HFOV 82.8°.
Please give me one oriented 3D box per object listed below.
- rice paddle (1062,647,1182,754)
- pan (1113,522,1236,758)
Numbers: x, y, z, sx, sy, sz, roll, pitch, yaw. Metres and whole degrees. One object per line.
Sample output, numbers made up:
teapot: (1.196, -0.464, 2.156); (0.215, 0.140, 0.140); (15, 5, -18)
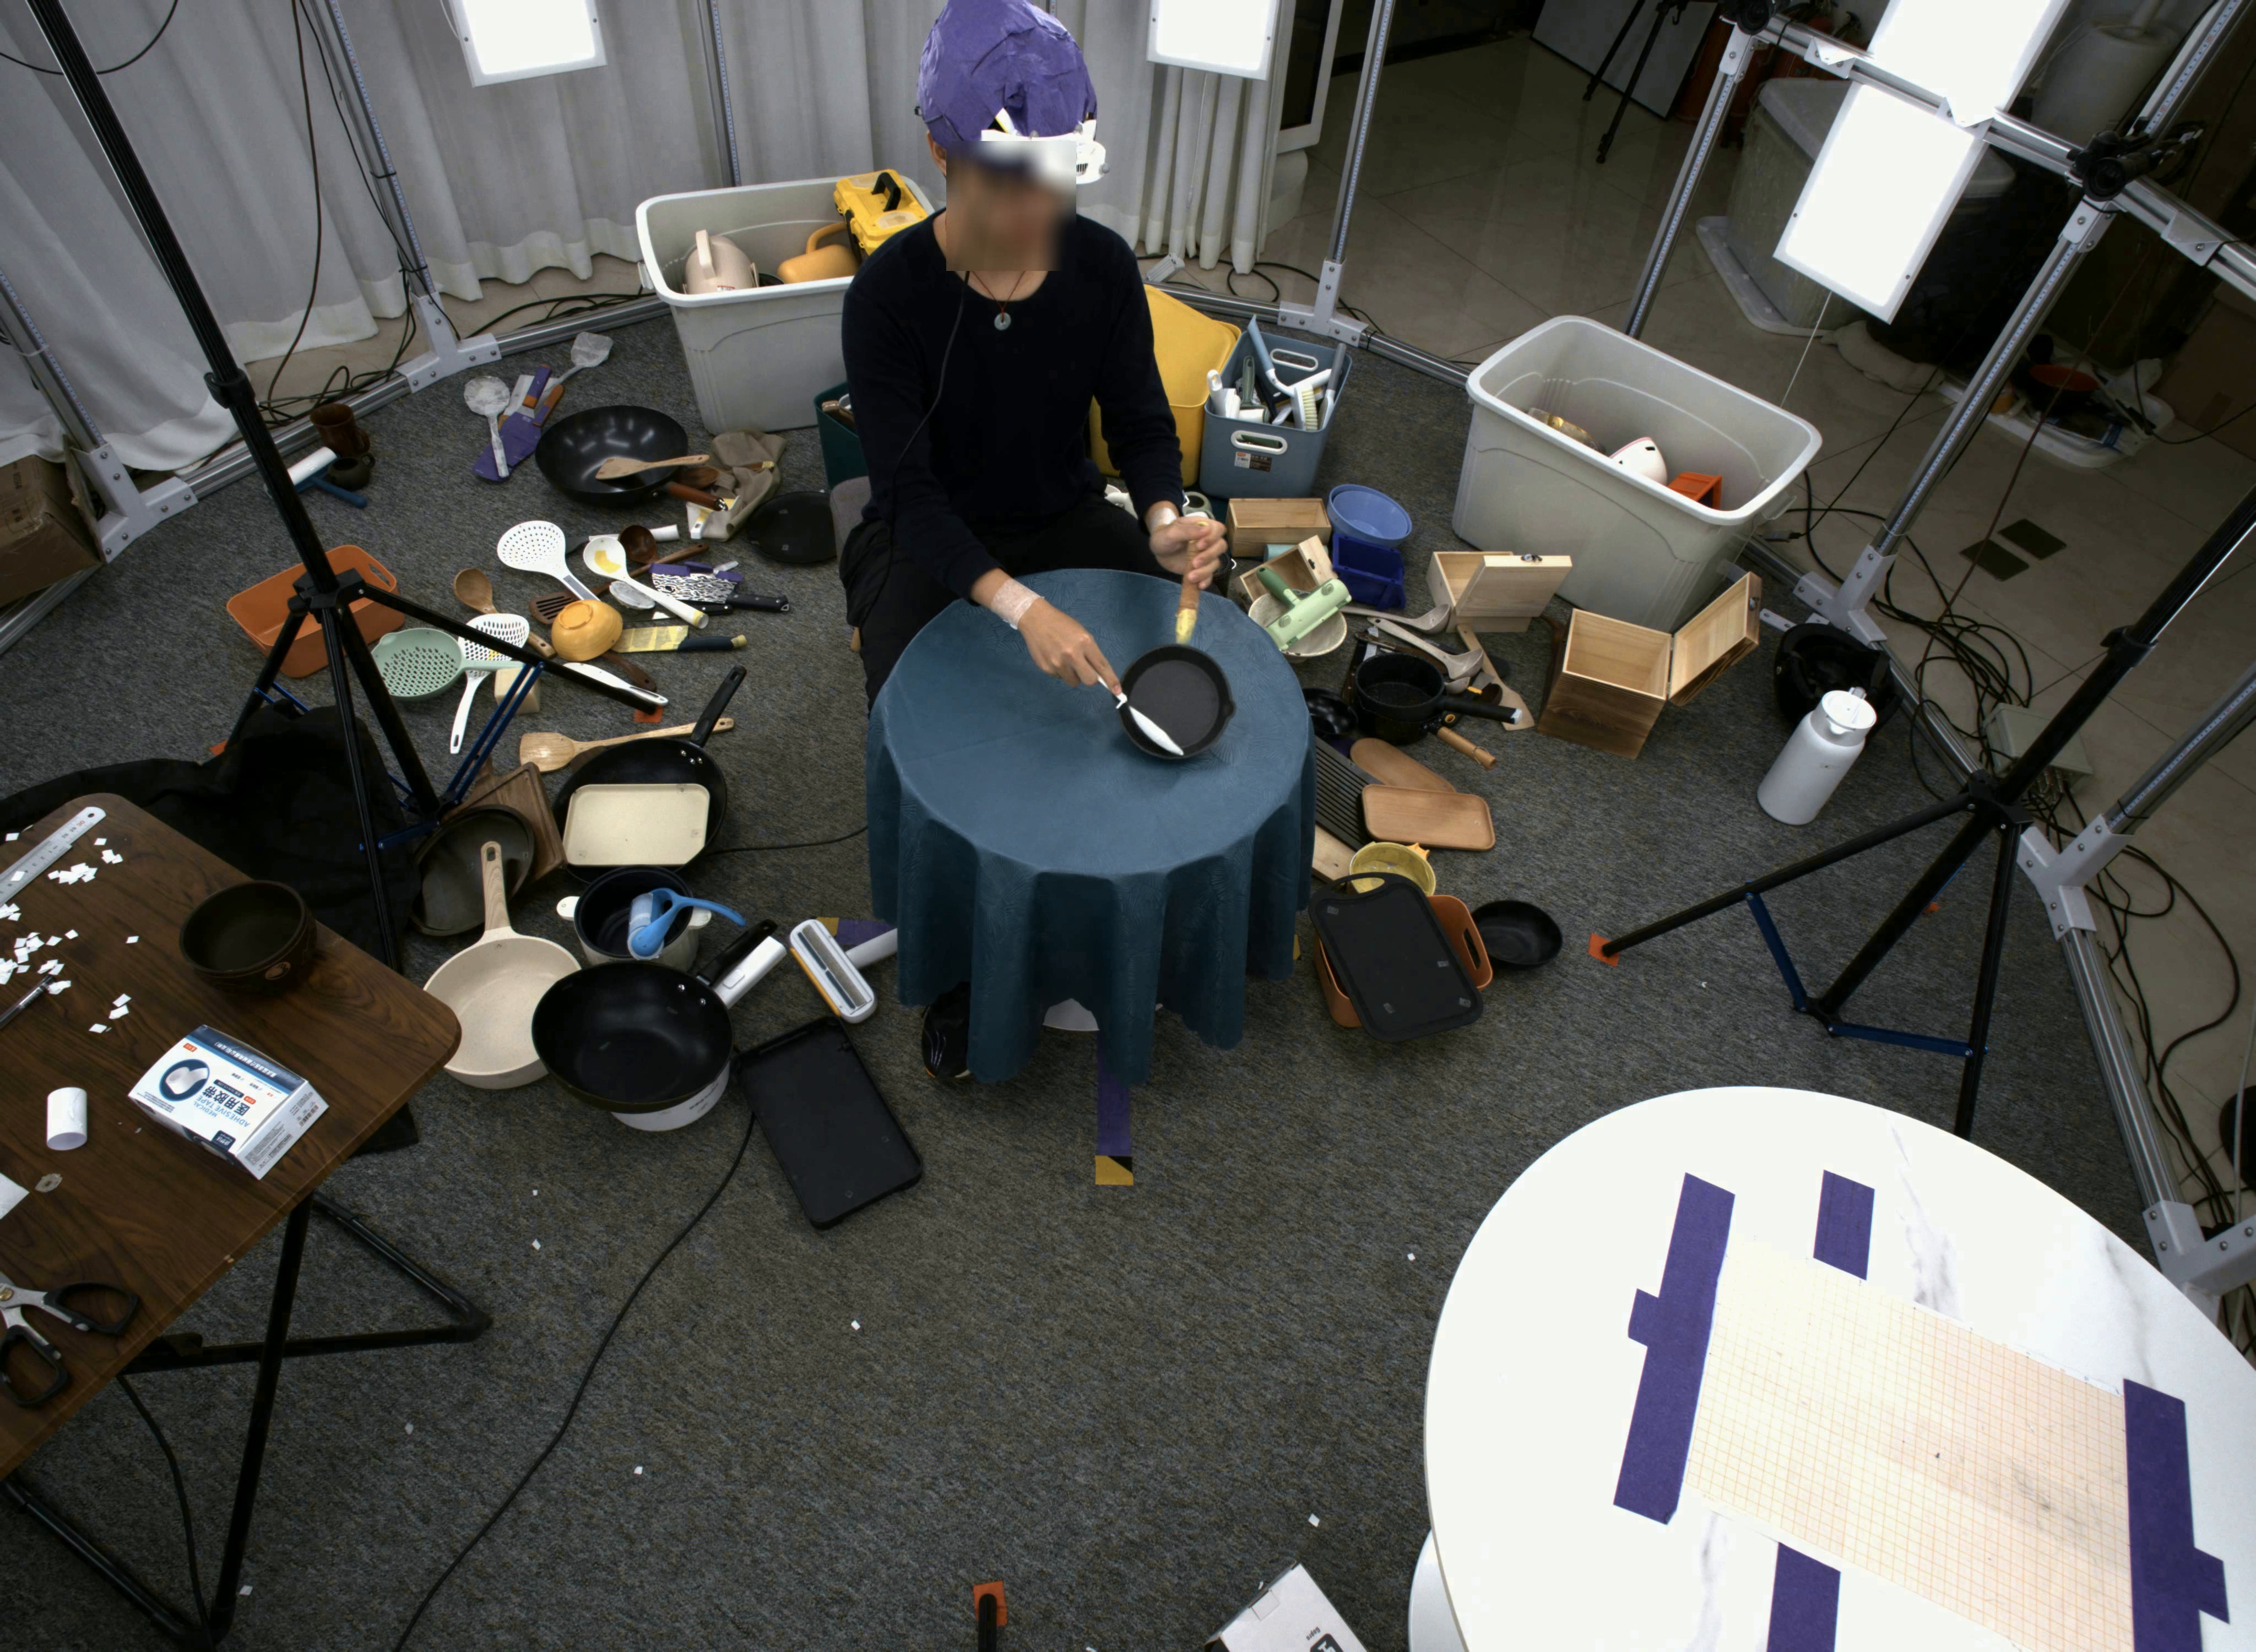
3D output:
rice paddle: (-0.003, -0.166, 1.735); (0.205, 0.029, 0.069); (41, 11, 1)
pan: (0.079, -0.252, 1.753); (0.169, 0.049, 0.325); (11, 87, 4)
